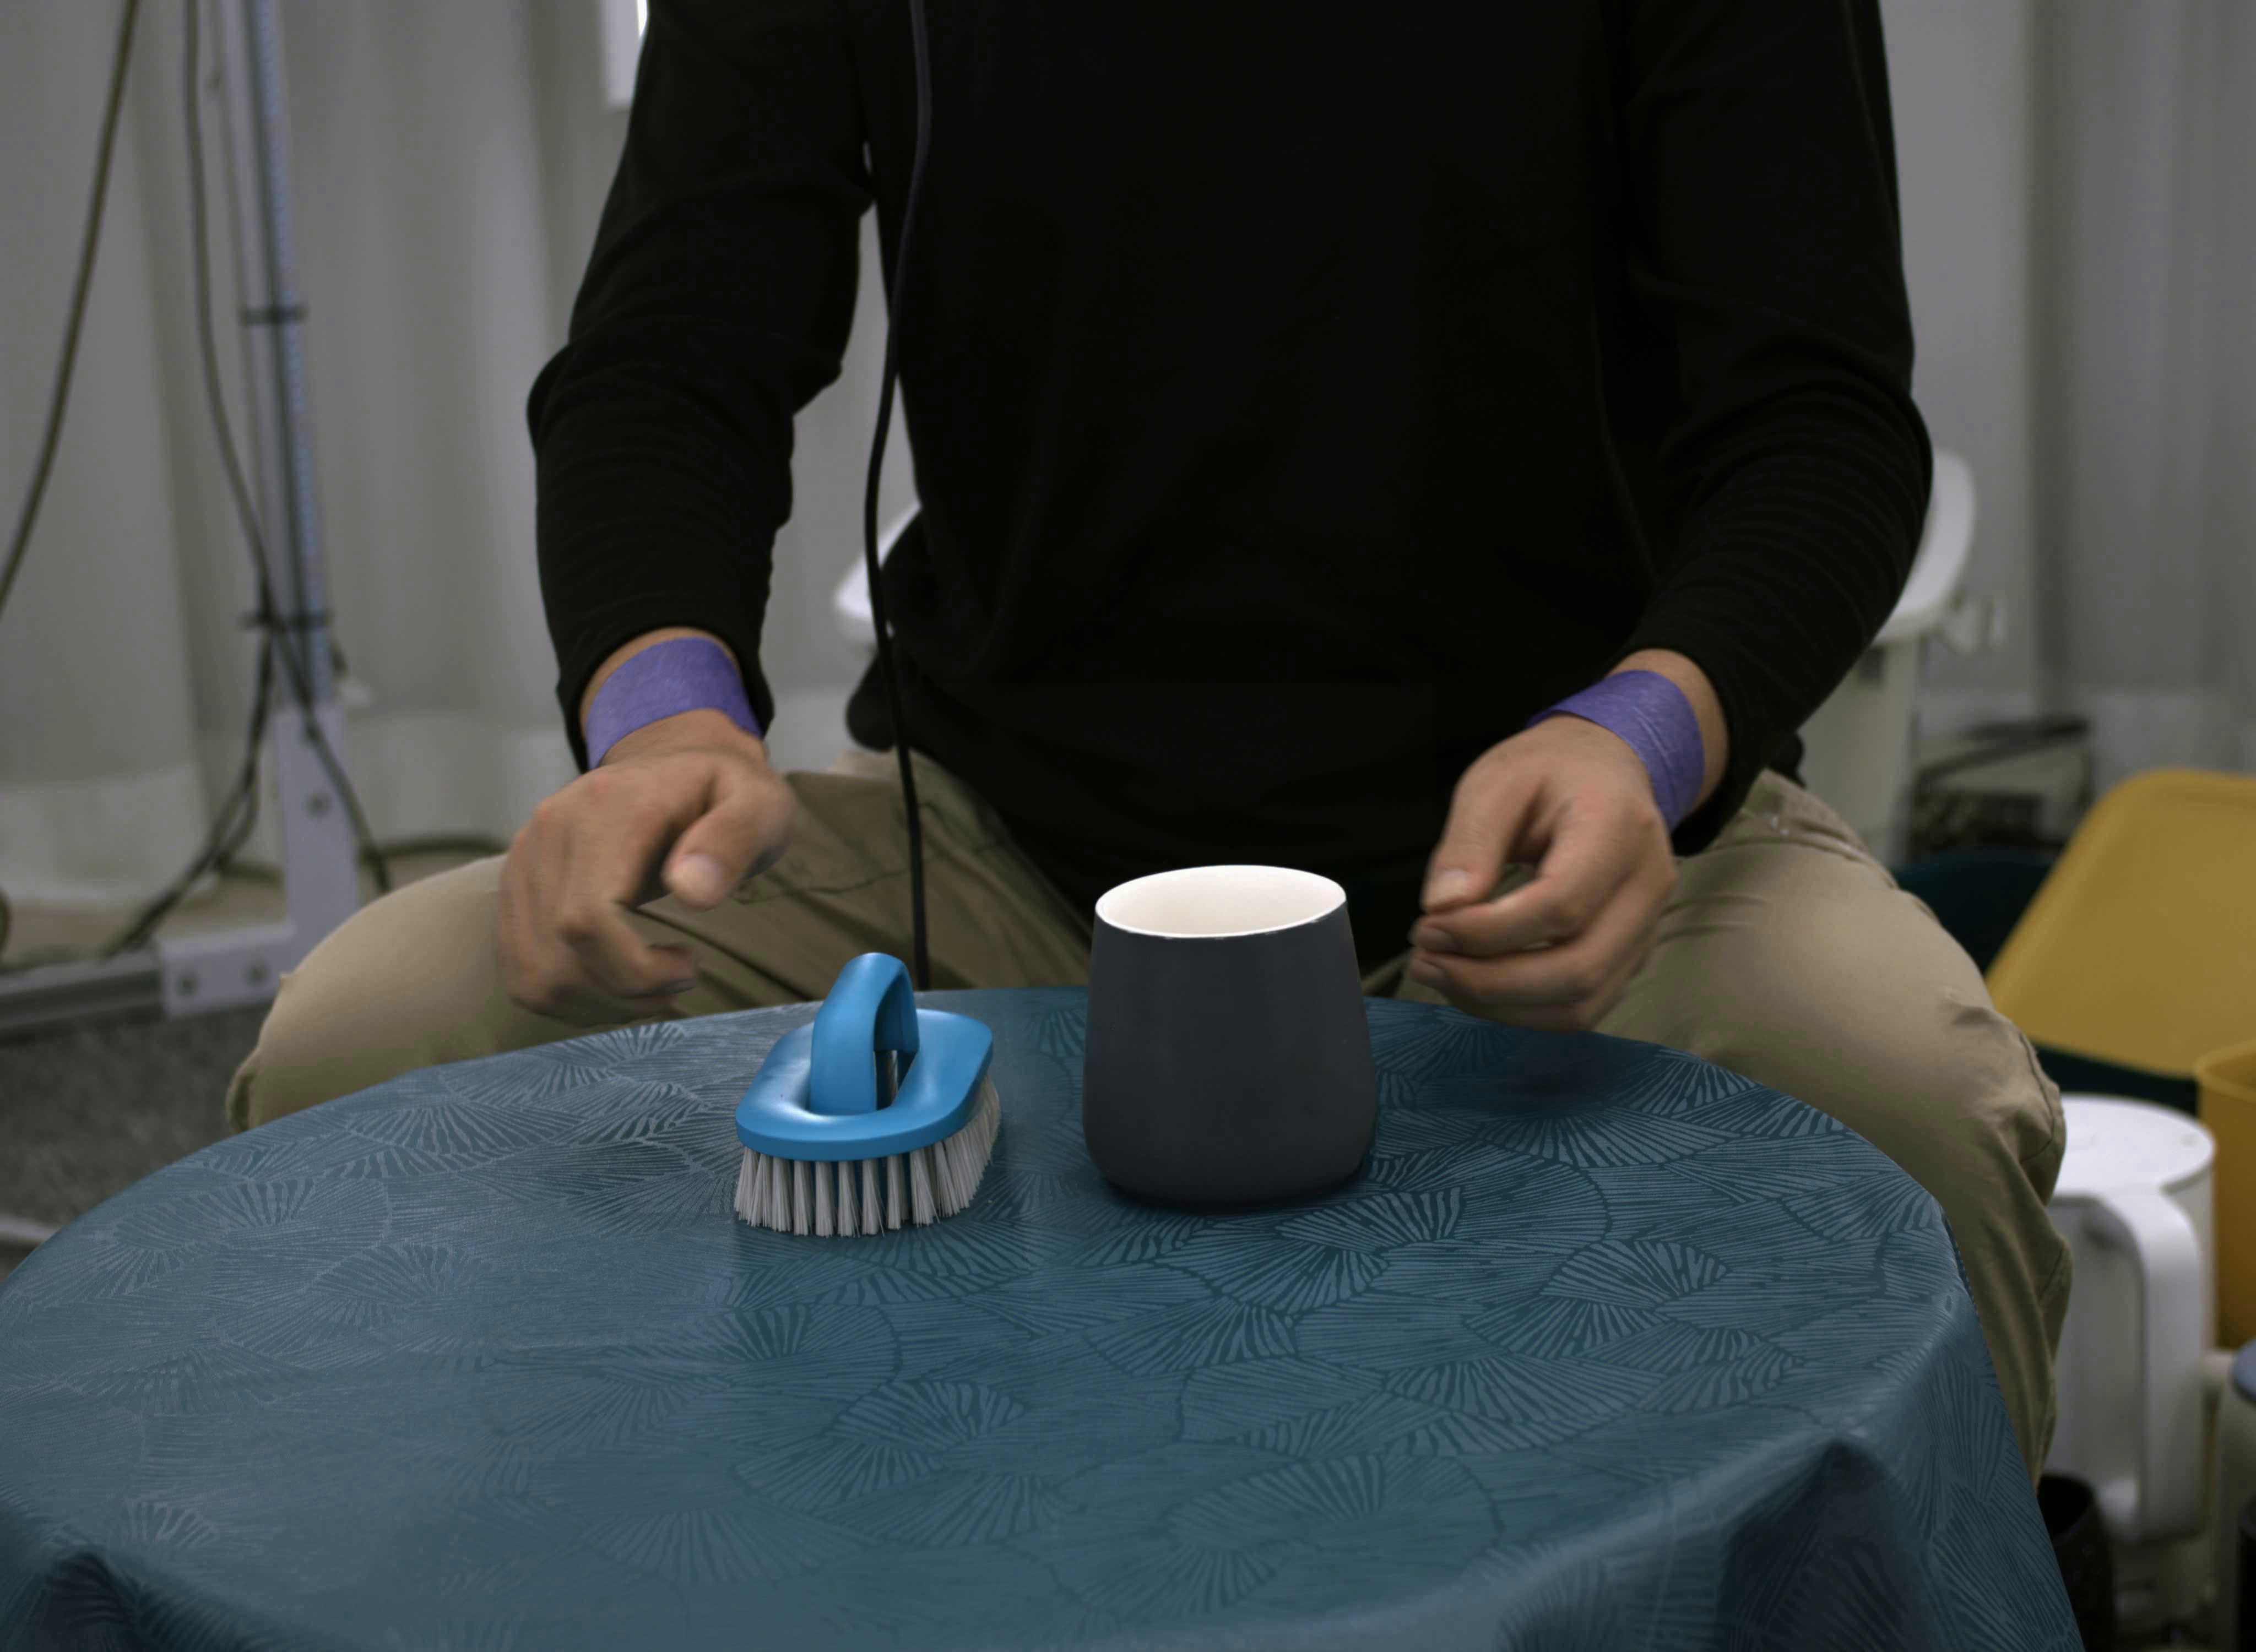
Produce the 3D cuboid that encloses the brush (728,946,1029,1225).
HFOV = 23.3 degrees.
[{"bbox_3d":[-0.081,0.077,1.745,0.084,0.063,0.142,-5,13,10],"label":"brush"}]

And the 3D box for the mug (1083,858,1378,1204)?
[{"bbox_3d":[0.035,0.060,1.731,0.093,0.089,0.124,1,17,14],"label":"mug"}]
